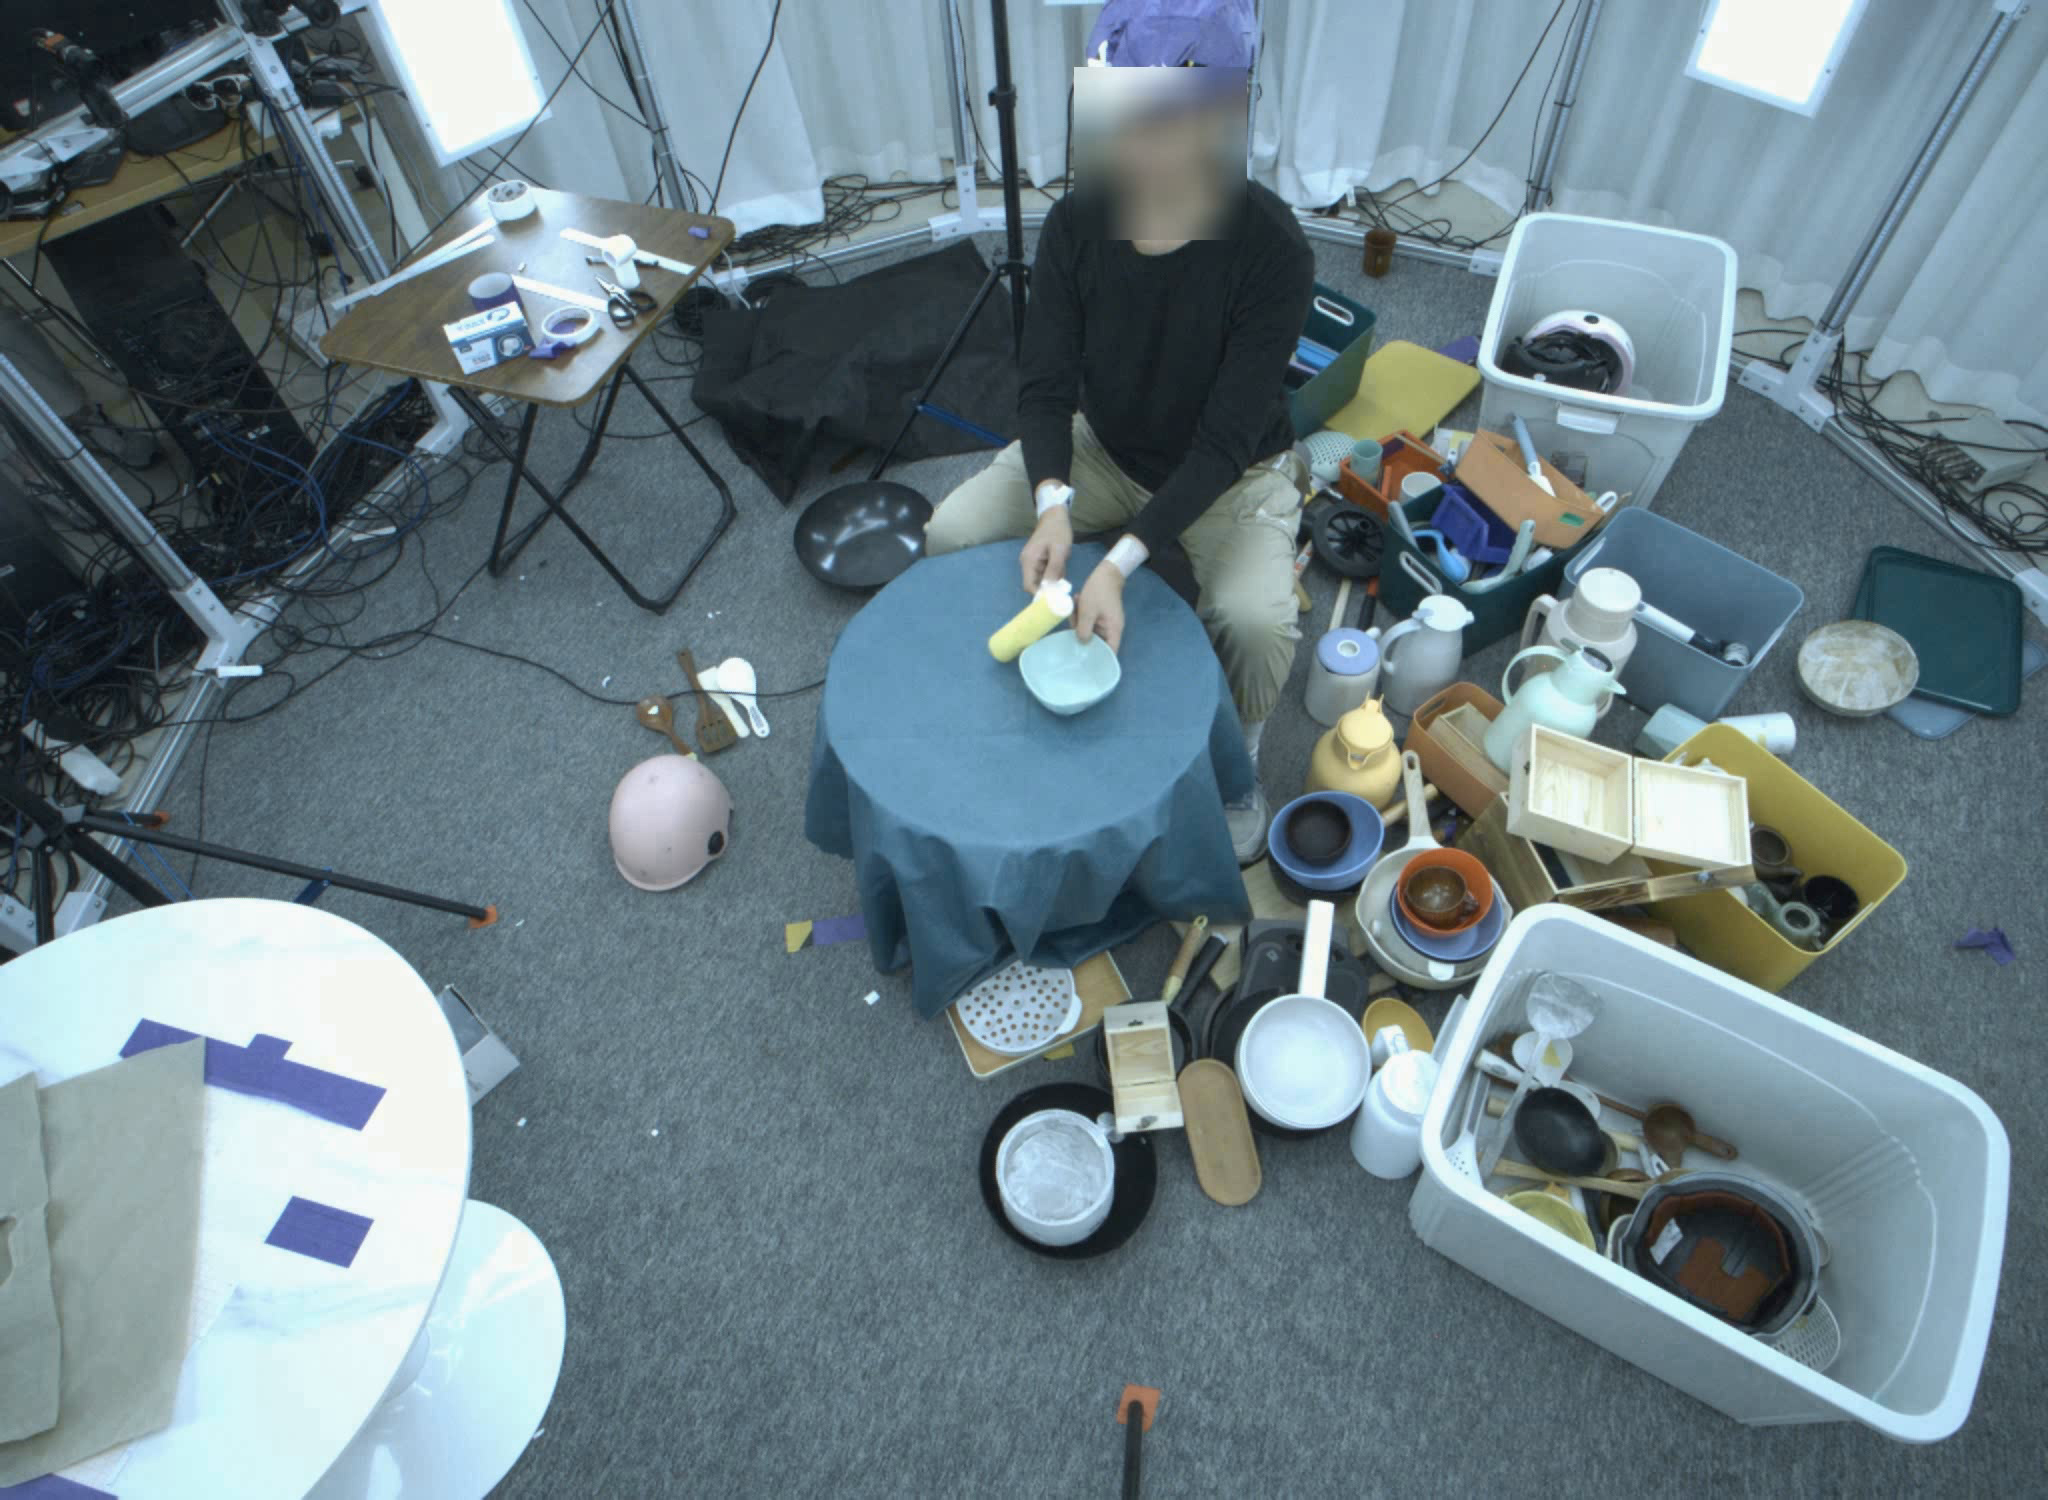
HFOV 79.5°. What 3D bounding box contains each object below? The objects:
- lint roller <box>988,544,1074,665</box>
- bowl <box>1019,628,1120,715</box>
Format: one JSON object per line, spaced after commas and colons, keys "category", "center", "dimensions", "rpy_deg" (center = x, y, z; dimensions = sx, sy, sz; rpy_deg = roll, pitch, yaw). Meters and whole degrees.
{"category": "lint roller", "center": [0.016, -0.241, 1.844], "dimensions": [0.052, 0.172, 0.190], "rpy_deg": [21, 57, -27]}
{"category": "bowl", "center": [0.067, -0.106, 1.819], "dimensions": [0.151, 0.059, 0.150], "rpy_deg": [1, 55, 0]}
